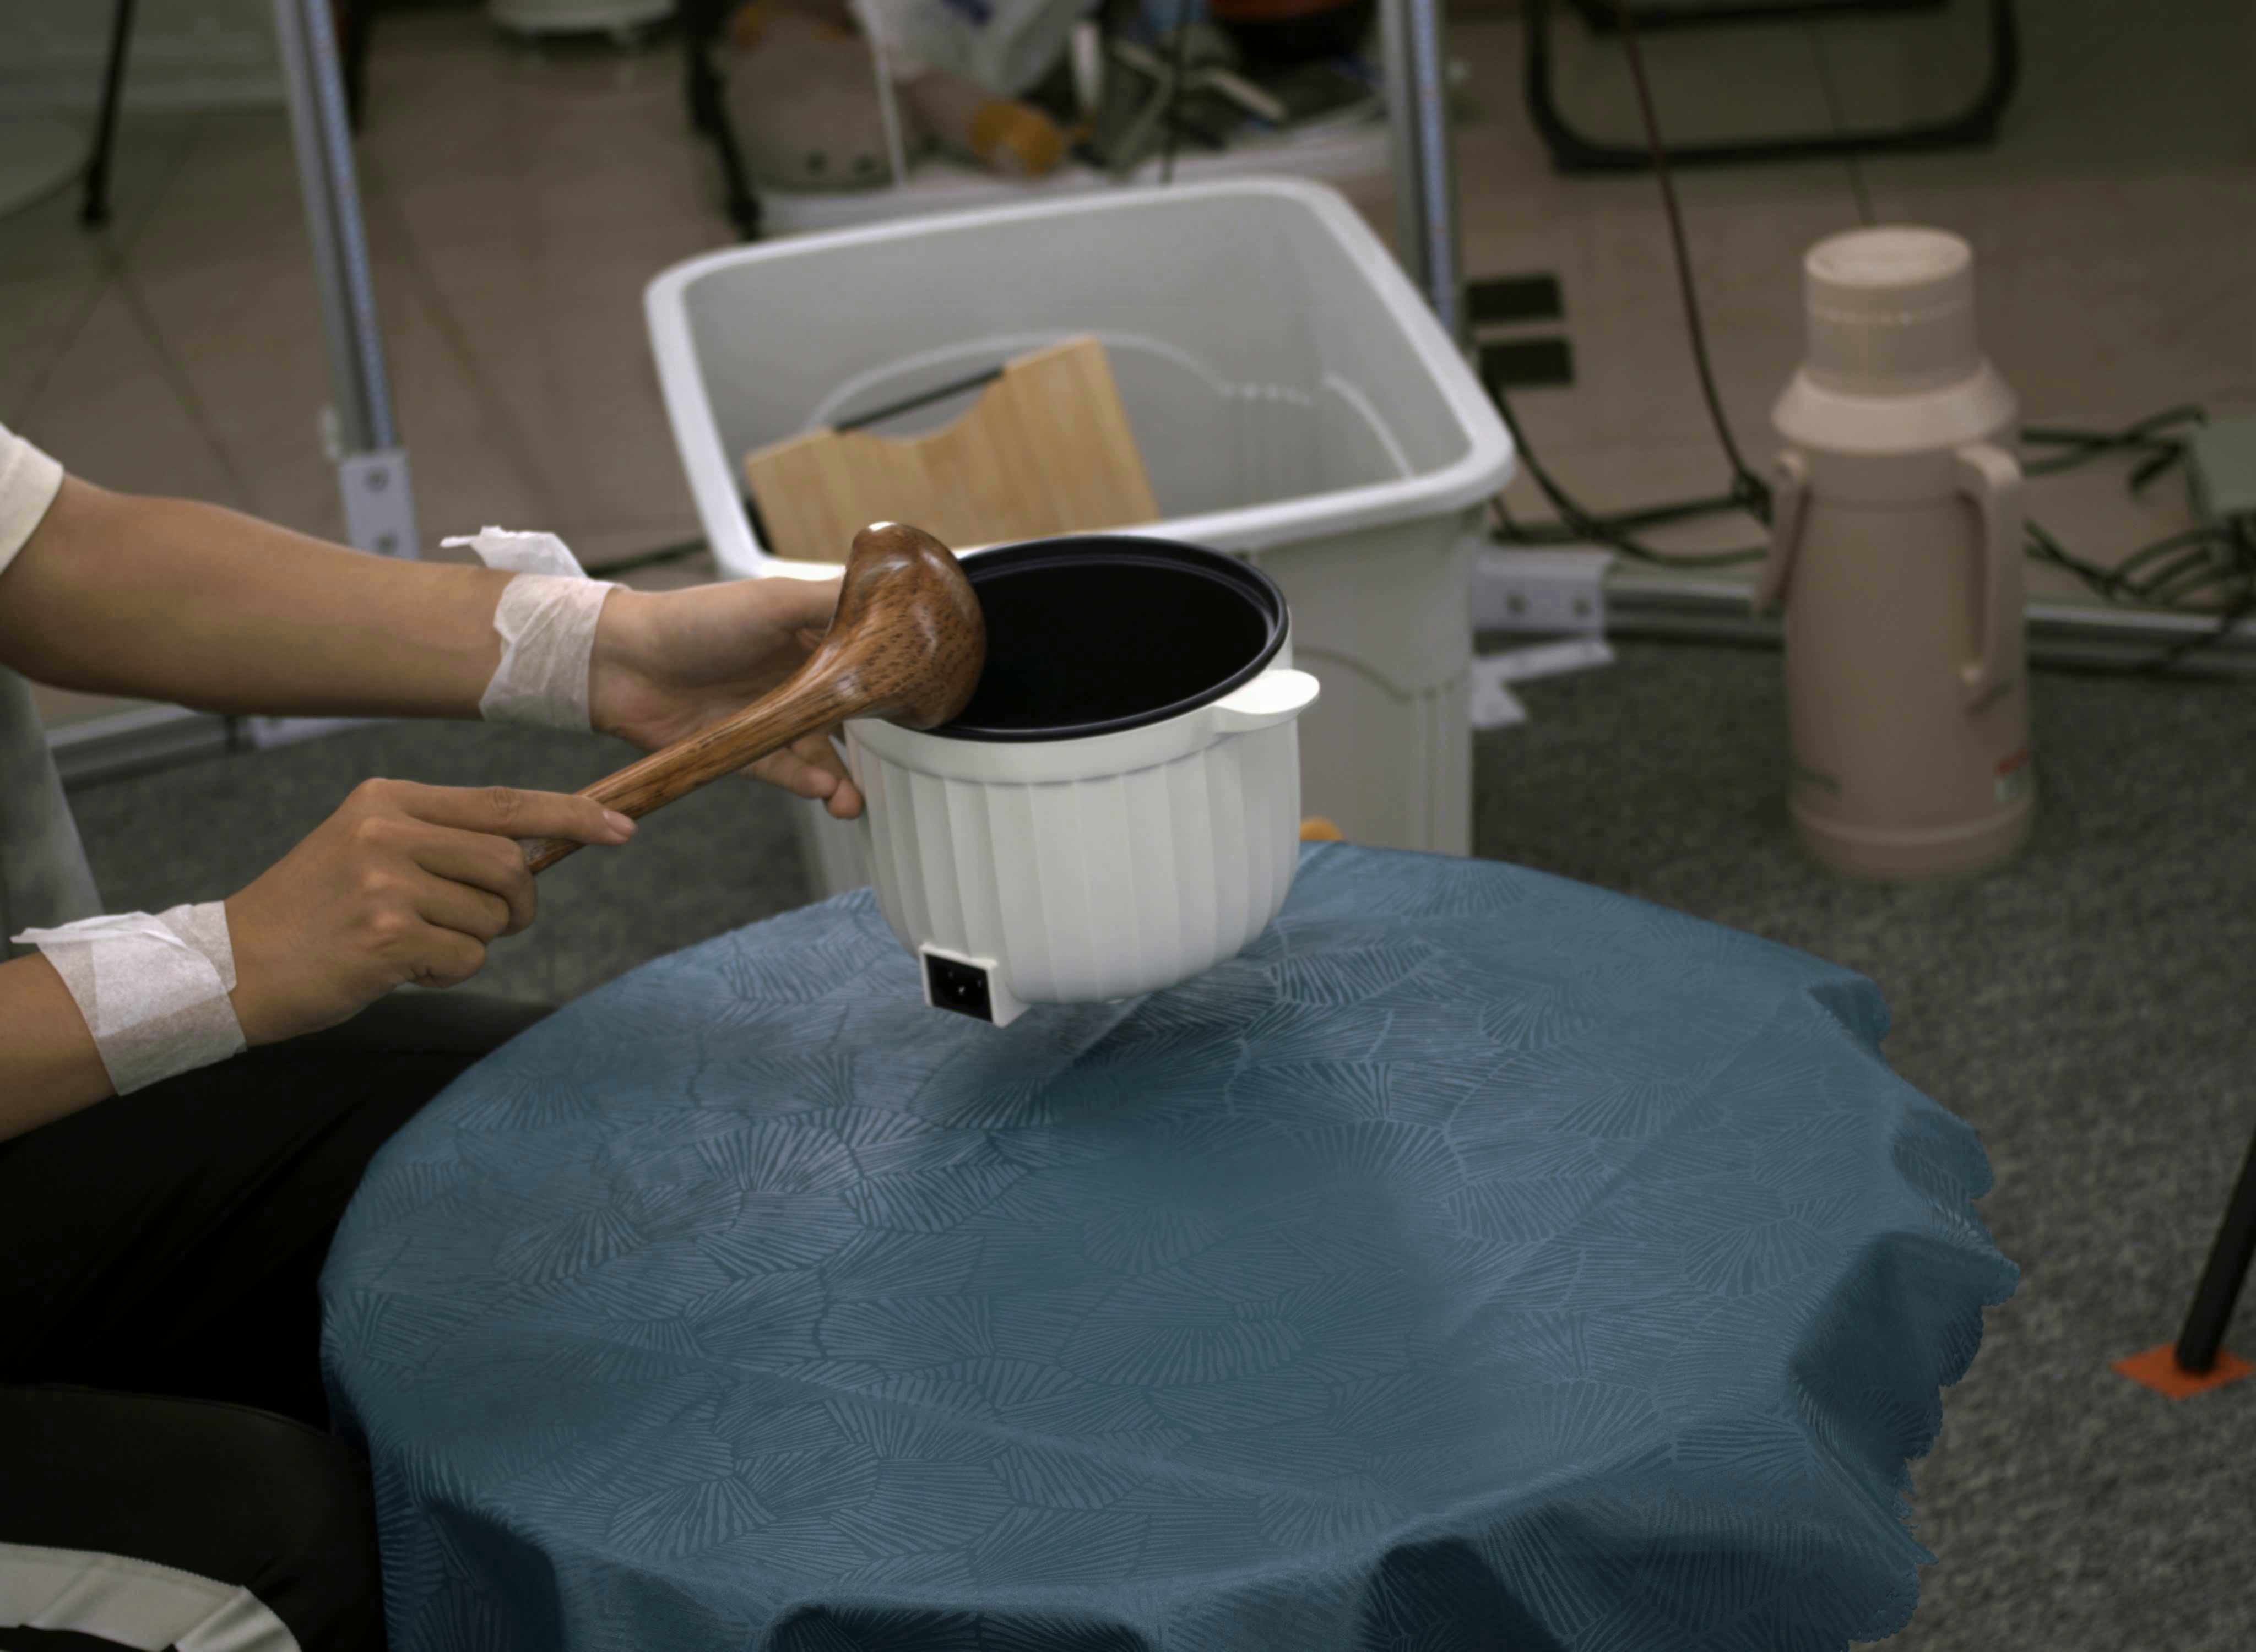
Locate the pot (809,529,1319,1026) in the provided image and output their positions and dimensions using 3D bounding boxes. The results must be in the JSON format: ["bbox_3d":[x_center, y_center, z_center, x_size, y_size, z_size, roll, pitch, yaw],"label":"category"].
[{"bbox_3d":[-0.019,-0.022,2.260,0.239,0.145,0.188,16,38,33],"label":"pot"}]

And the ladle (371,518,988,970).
[{"bbox_3d":[-0.170,-0.028,2.122,0.272,0.082,0.076,-30,14,-14],"label":"ladle"}]
